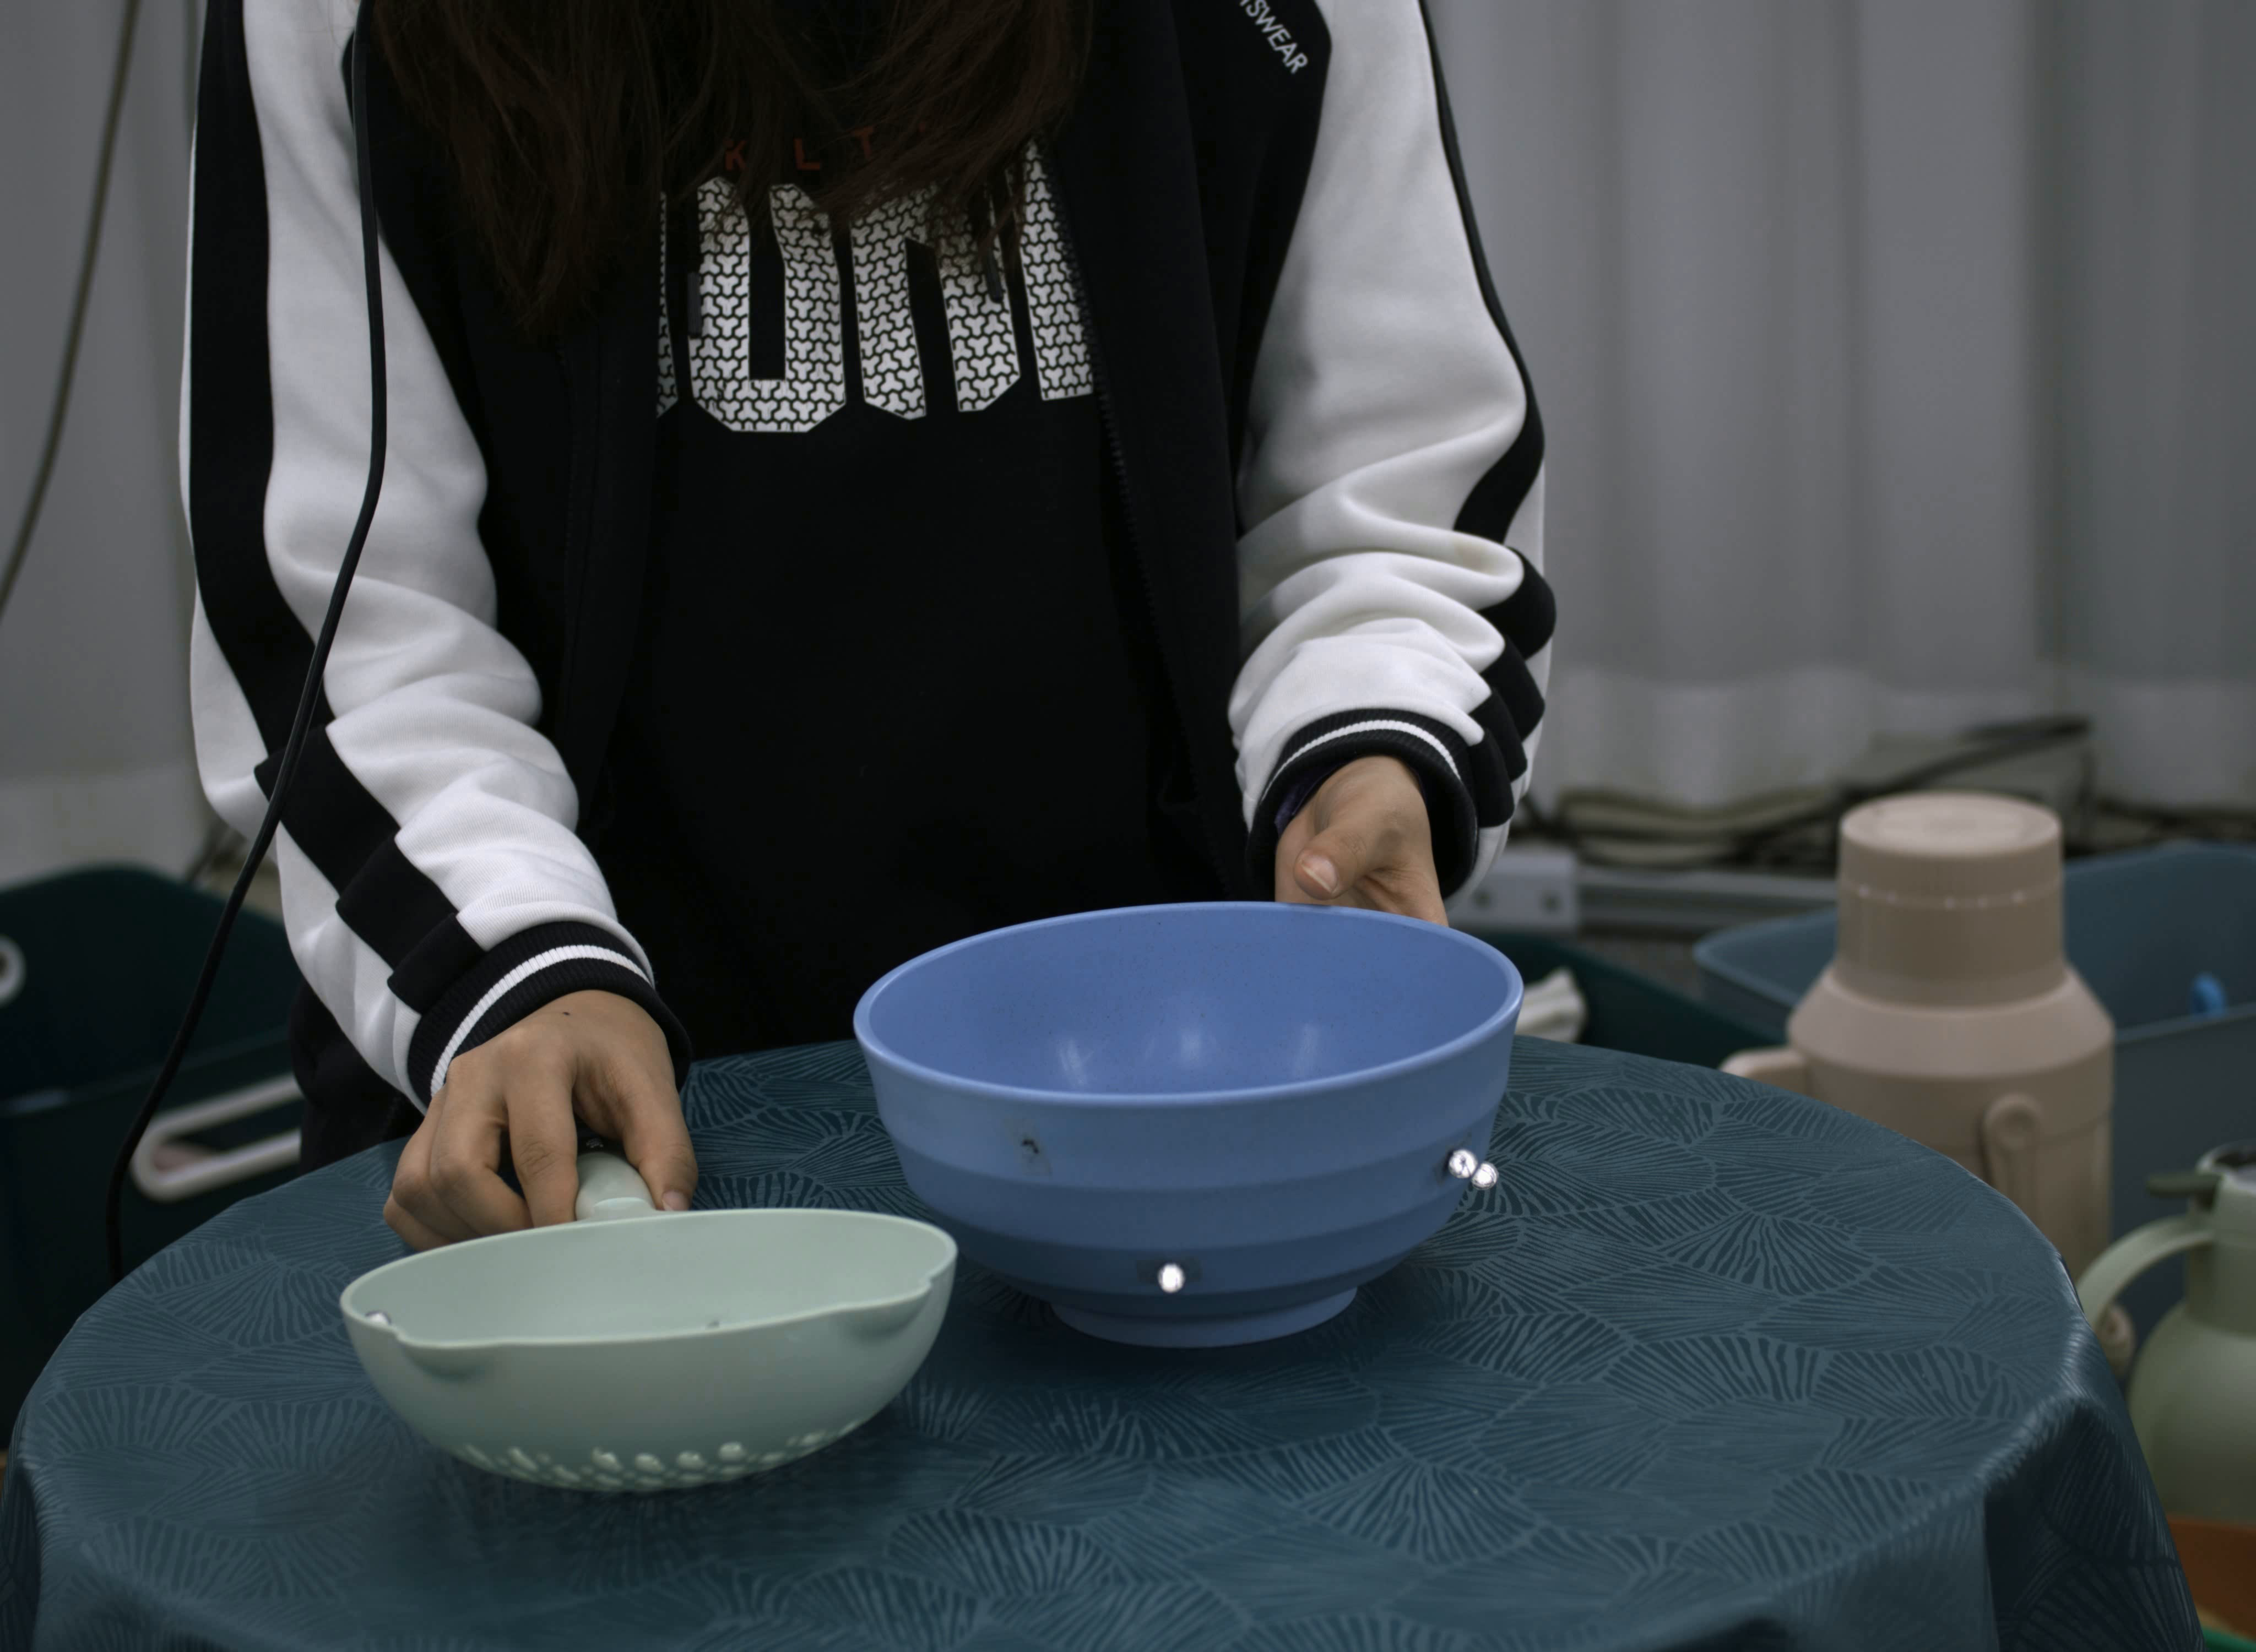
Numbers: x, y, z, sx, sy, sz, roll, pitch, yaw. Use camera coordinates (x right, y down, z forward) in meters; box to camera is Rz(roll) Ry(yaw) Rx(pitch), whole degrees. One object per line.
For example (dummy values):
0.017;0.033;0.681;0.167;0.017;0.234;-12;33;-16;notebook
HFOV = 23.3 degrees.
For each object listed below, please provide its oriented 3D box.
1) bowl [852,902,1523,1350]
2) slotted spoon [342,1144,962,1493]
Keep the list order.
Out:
0.020;0.094;1.606;0.196;0.095;0.198;-3;15;1;bowl
-0.144;0.126;1.587;0.168;0.075;0.361;-4;13;-9;slotted spoon
